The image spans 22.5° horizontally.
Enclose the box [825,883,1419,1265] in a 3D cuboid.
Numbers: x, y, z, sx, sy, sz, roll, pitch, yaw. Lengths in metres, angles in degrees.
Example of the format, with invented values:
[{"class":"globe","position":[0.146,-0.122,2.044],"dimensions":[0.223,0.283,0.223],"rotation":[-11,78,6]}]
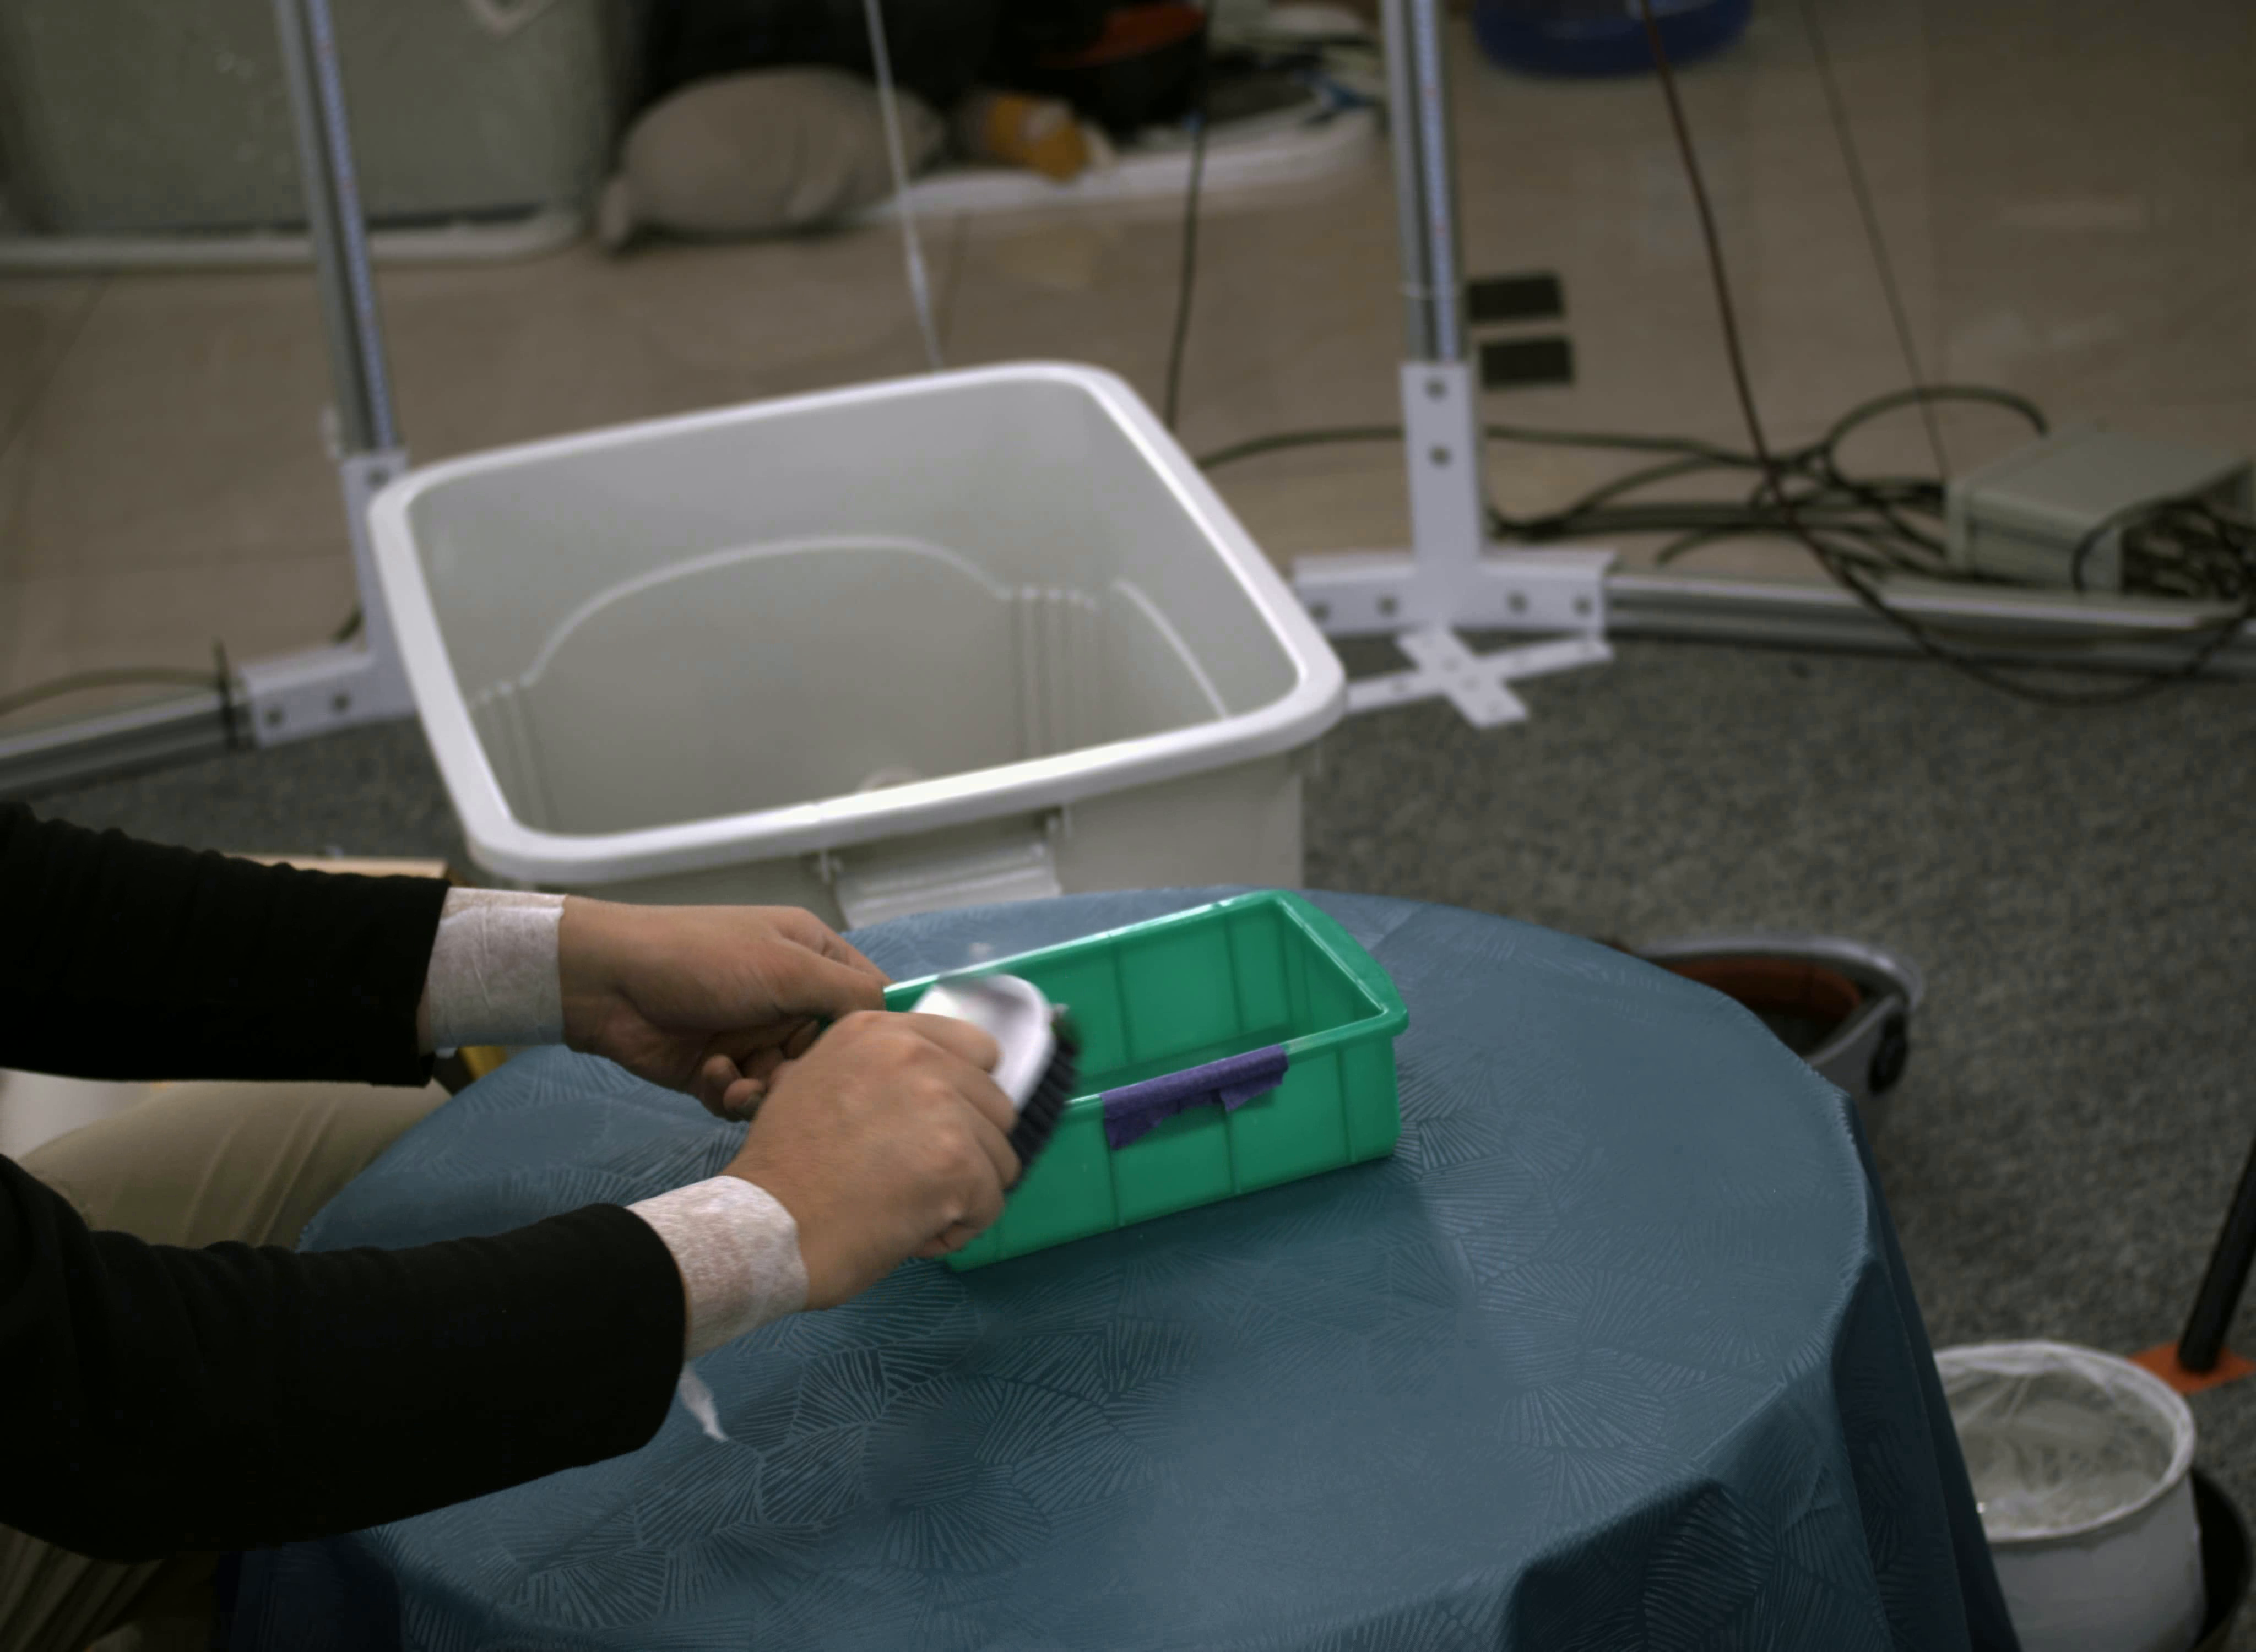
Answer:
[{"class":"box","position":[-0.001,0.095,2.166],"dimensions":[0.210,0.066,0.137],"rotation":[-14,28,-17]}]

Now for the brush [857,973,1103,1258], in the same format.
[{"class":"brush","position":[-0.058,0.096,2.019],"dimensions":[0.050,0.074,0.098],"rotation":[28,69,35]}]
